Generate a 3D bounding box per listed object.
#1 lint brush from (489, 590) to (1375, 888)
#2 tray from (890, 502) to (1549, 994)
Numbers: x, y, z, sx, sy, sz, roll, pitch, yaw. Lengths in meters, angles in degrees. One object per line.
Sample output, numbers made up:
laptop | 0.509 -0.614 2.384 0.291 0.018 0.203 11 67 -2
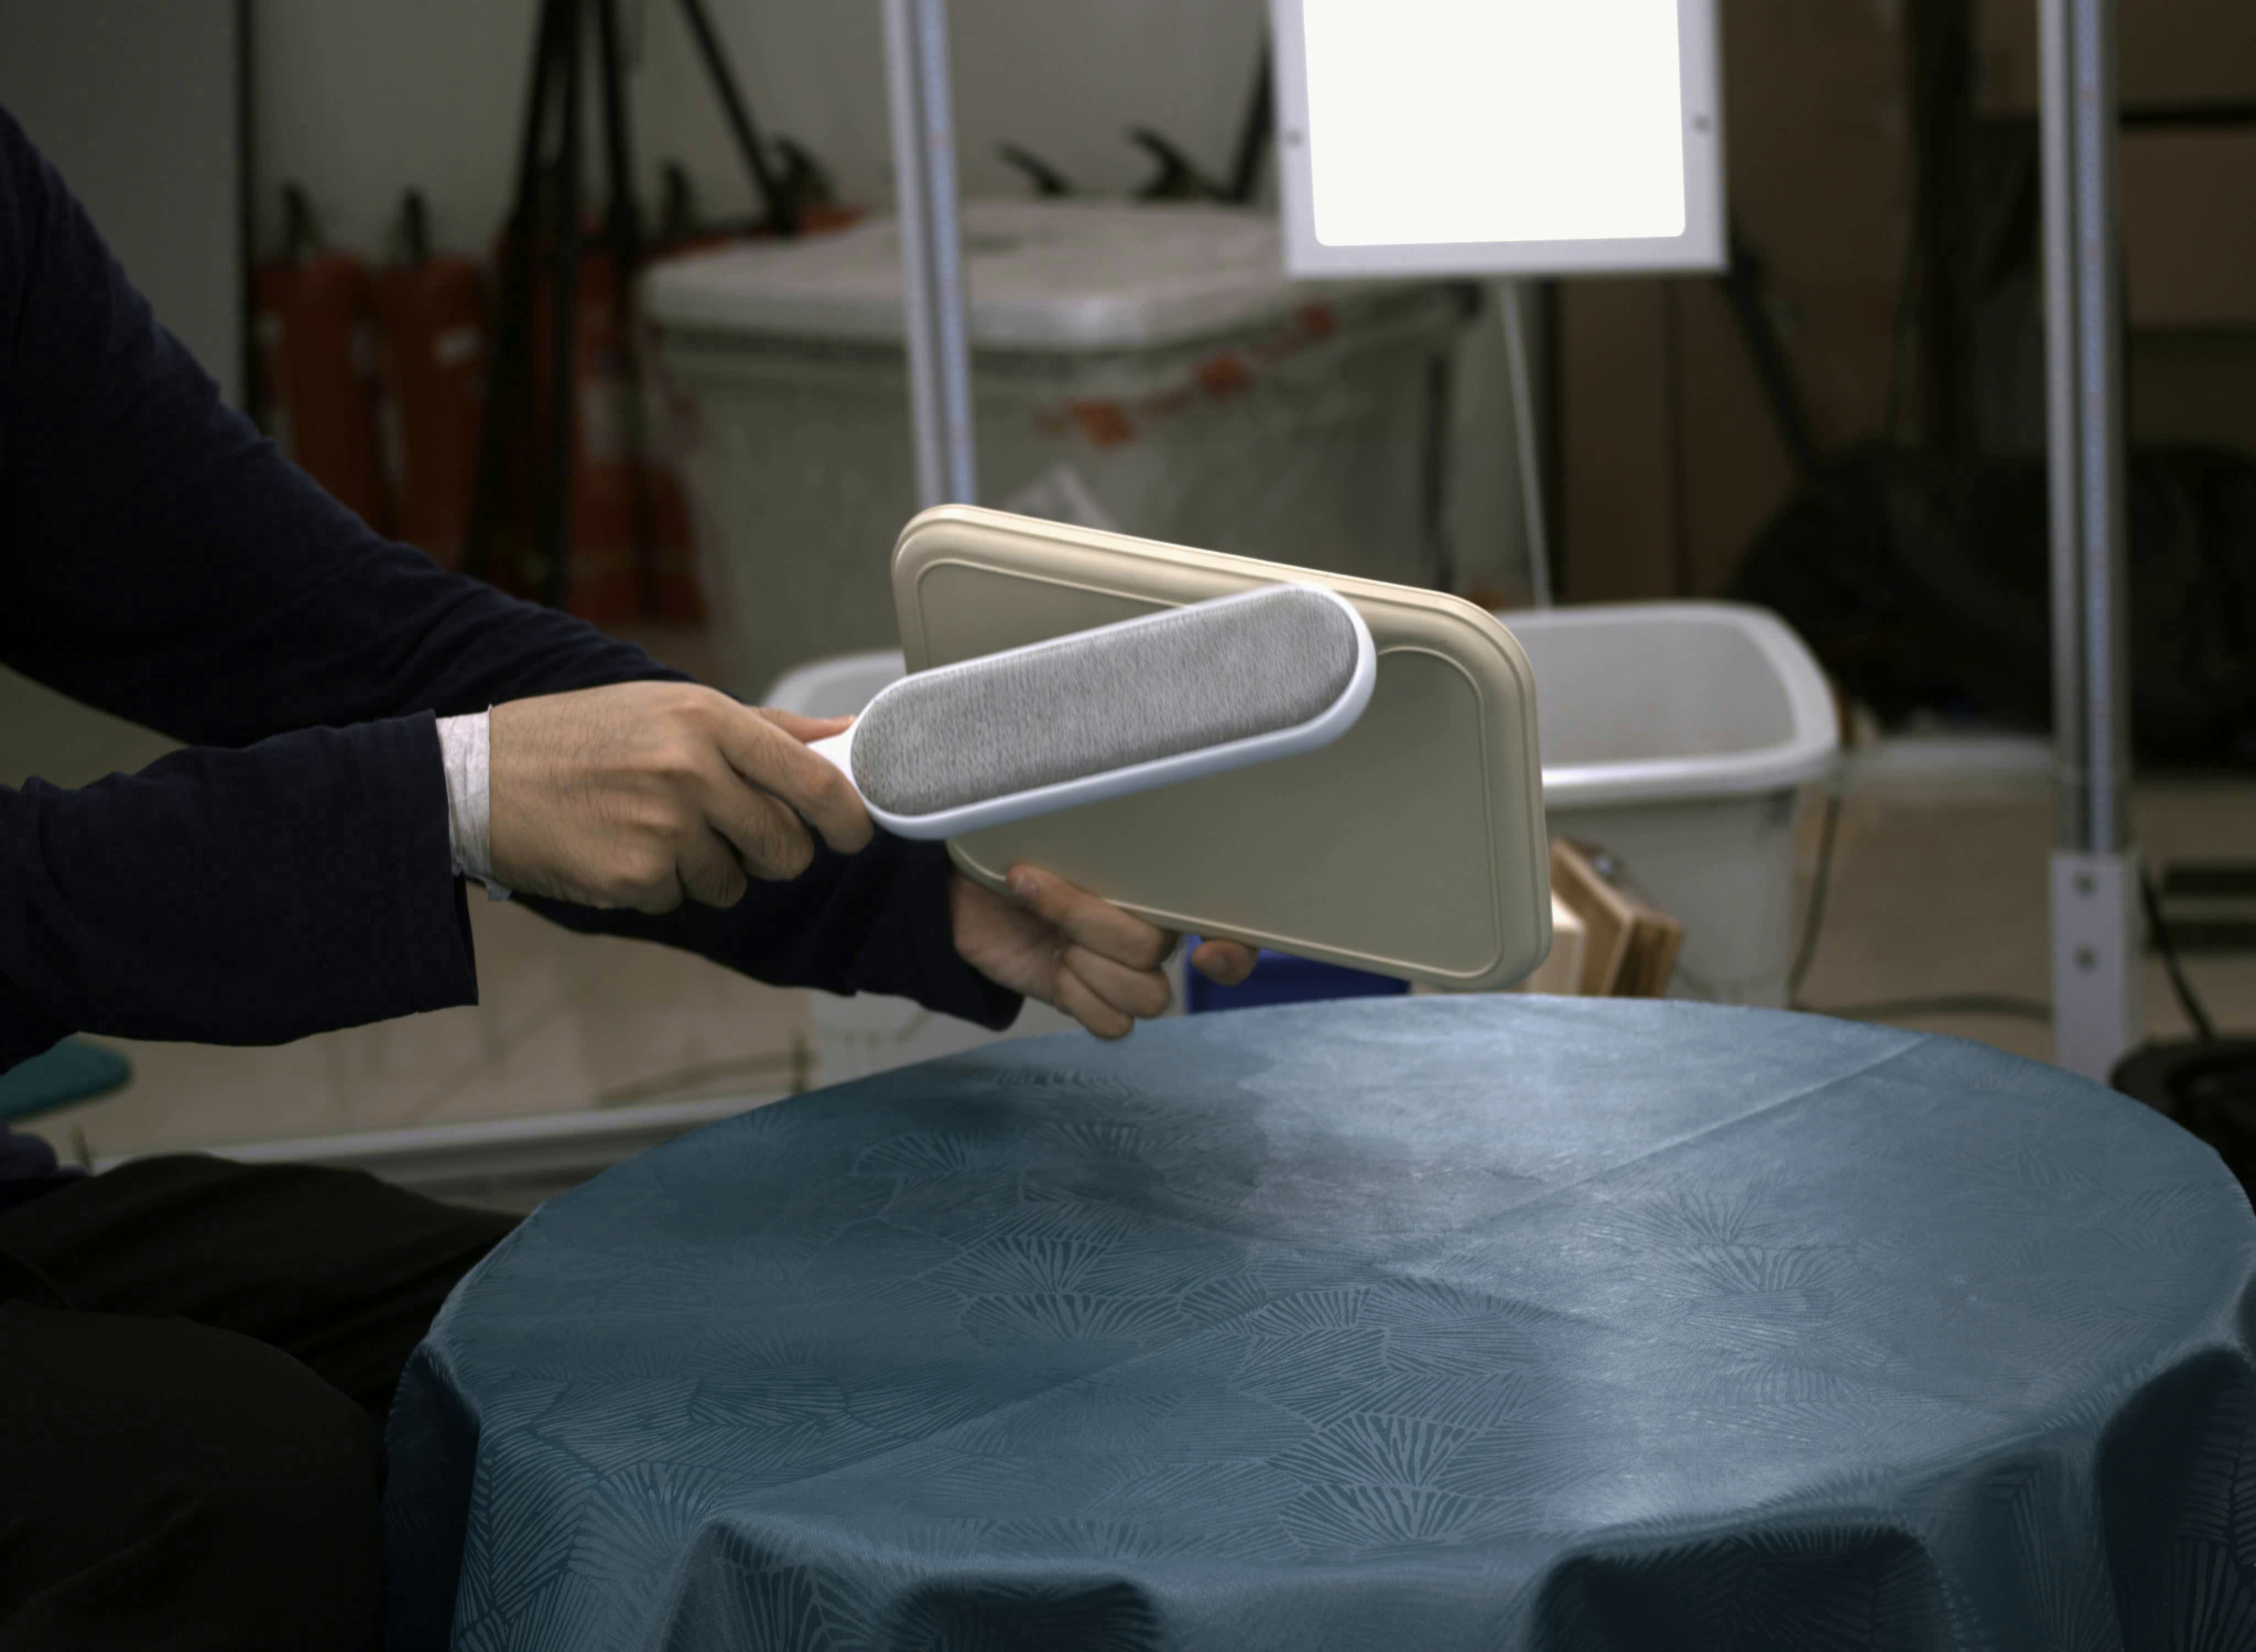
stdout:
lint brush | -0.067 -0.023 1.799 0.312 0.060 0.020 -13 -22 17
tray | 0.029 -0.024 1.895 0.243 0.172 0.017 12 43 24
